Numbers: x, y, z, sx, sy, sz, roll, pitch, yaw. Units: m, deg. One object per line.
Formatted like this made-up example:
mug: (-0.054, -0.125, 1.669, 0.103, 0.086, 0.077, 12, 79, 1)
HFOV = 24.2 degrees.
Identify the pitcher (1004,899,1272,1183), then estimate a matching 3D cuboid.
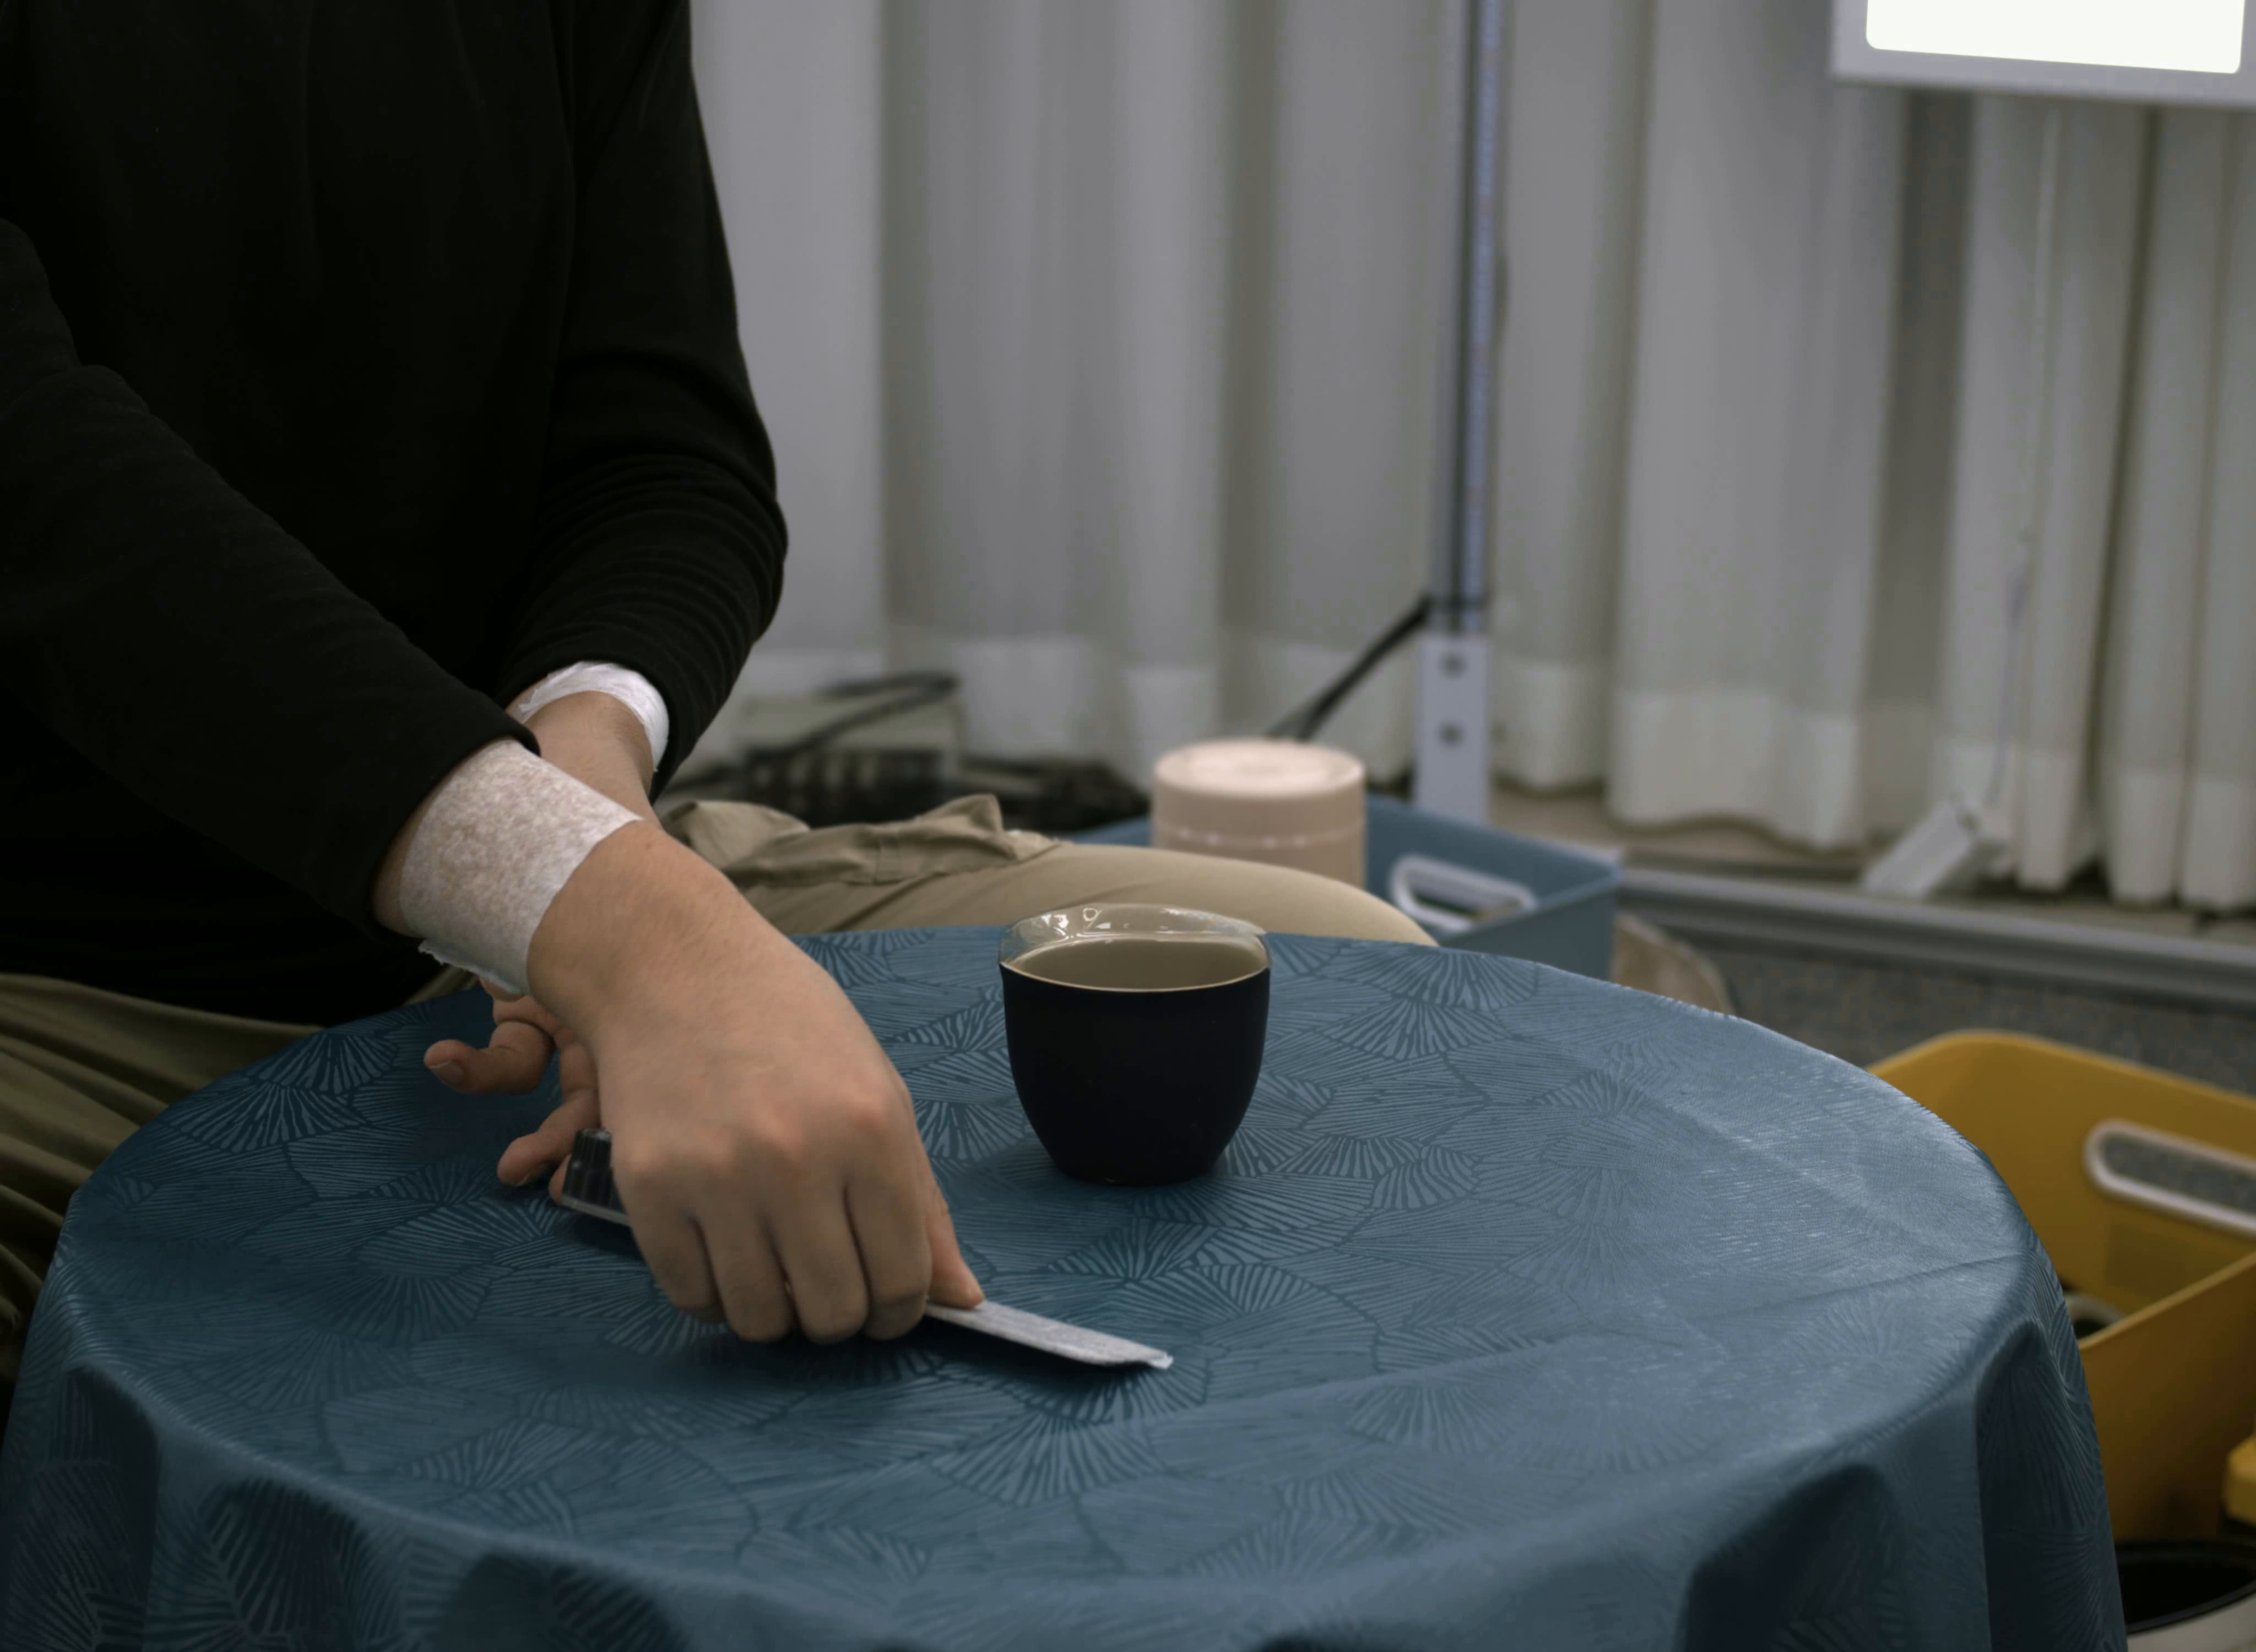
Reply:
pitcher: (0.000, 0.068, 1.642, 0.084, 0.072, 0.095, -9, 19, -28)

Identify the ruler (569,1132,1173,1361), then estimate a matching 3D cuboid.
ruler: (-0.080, 0.120, 1.528, 0.215, 0.024, 0.038, 12, 12, 38)
